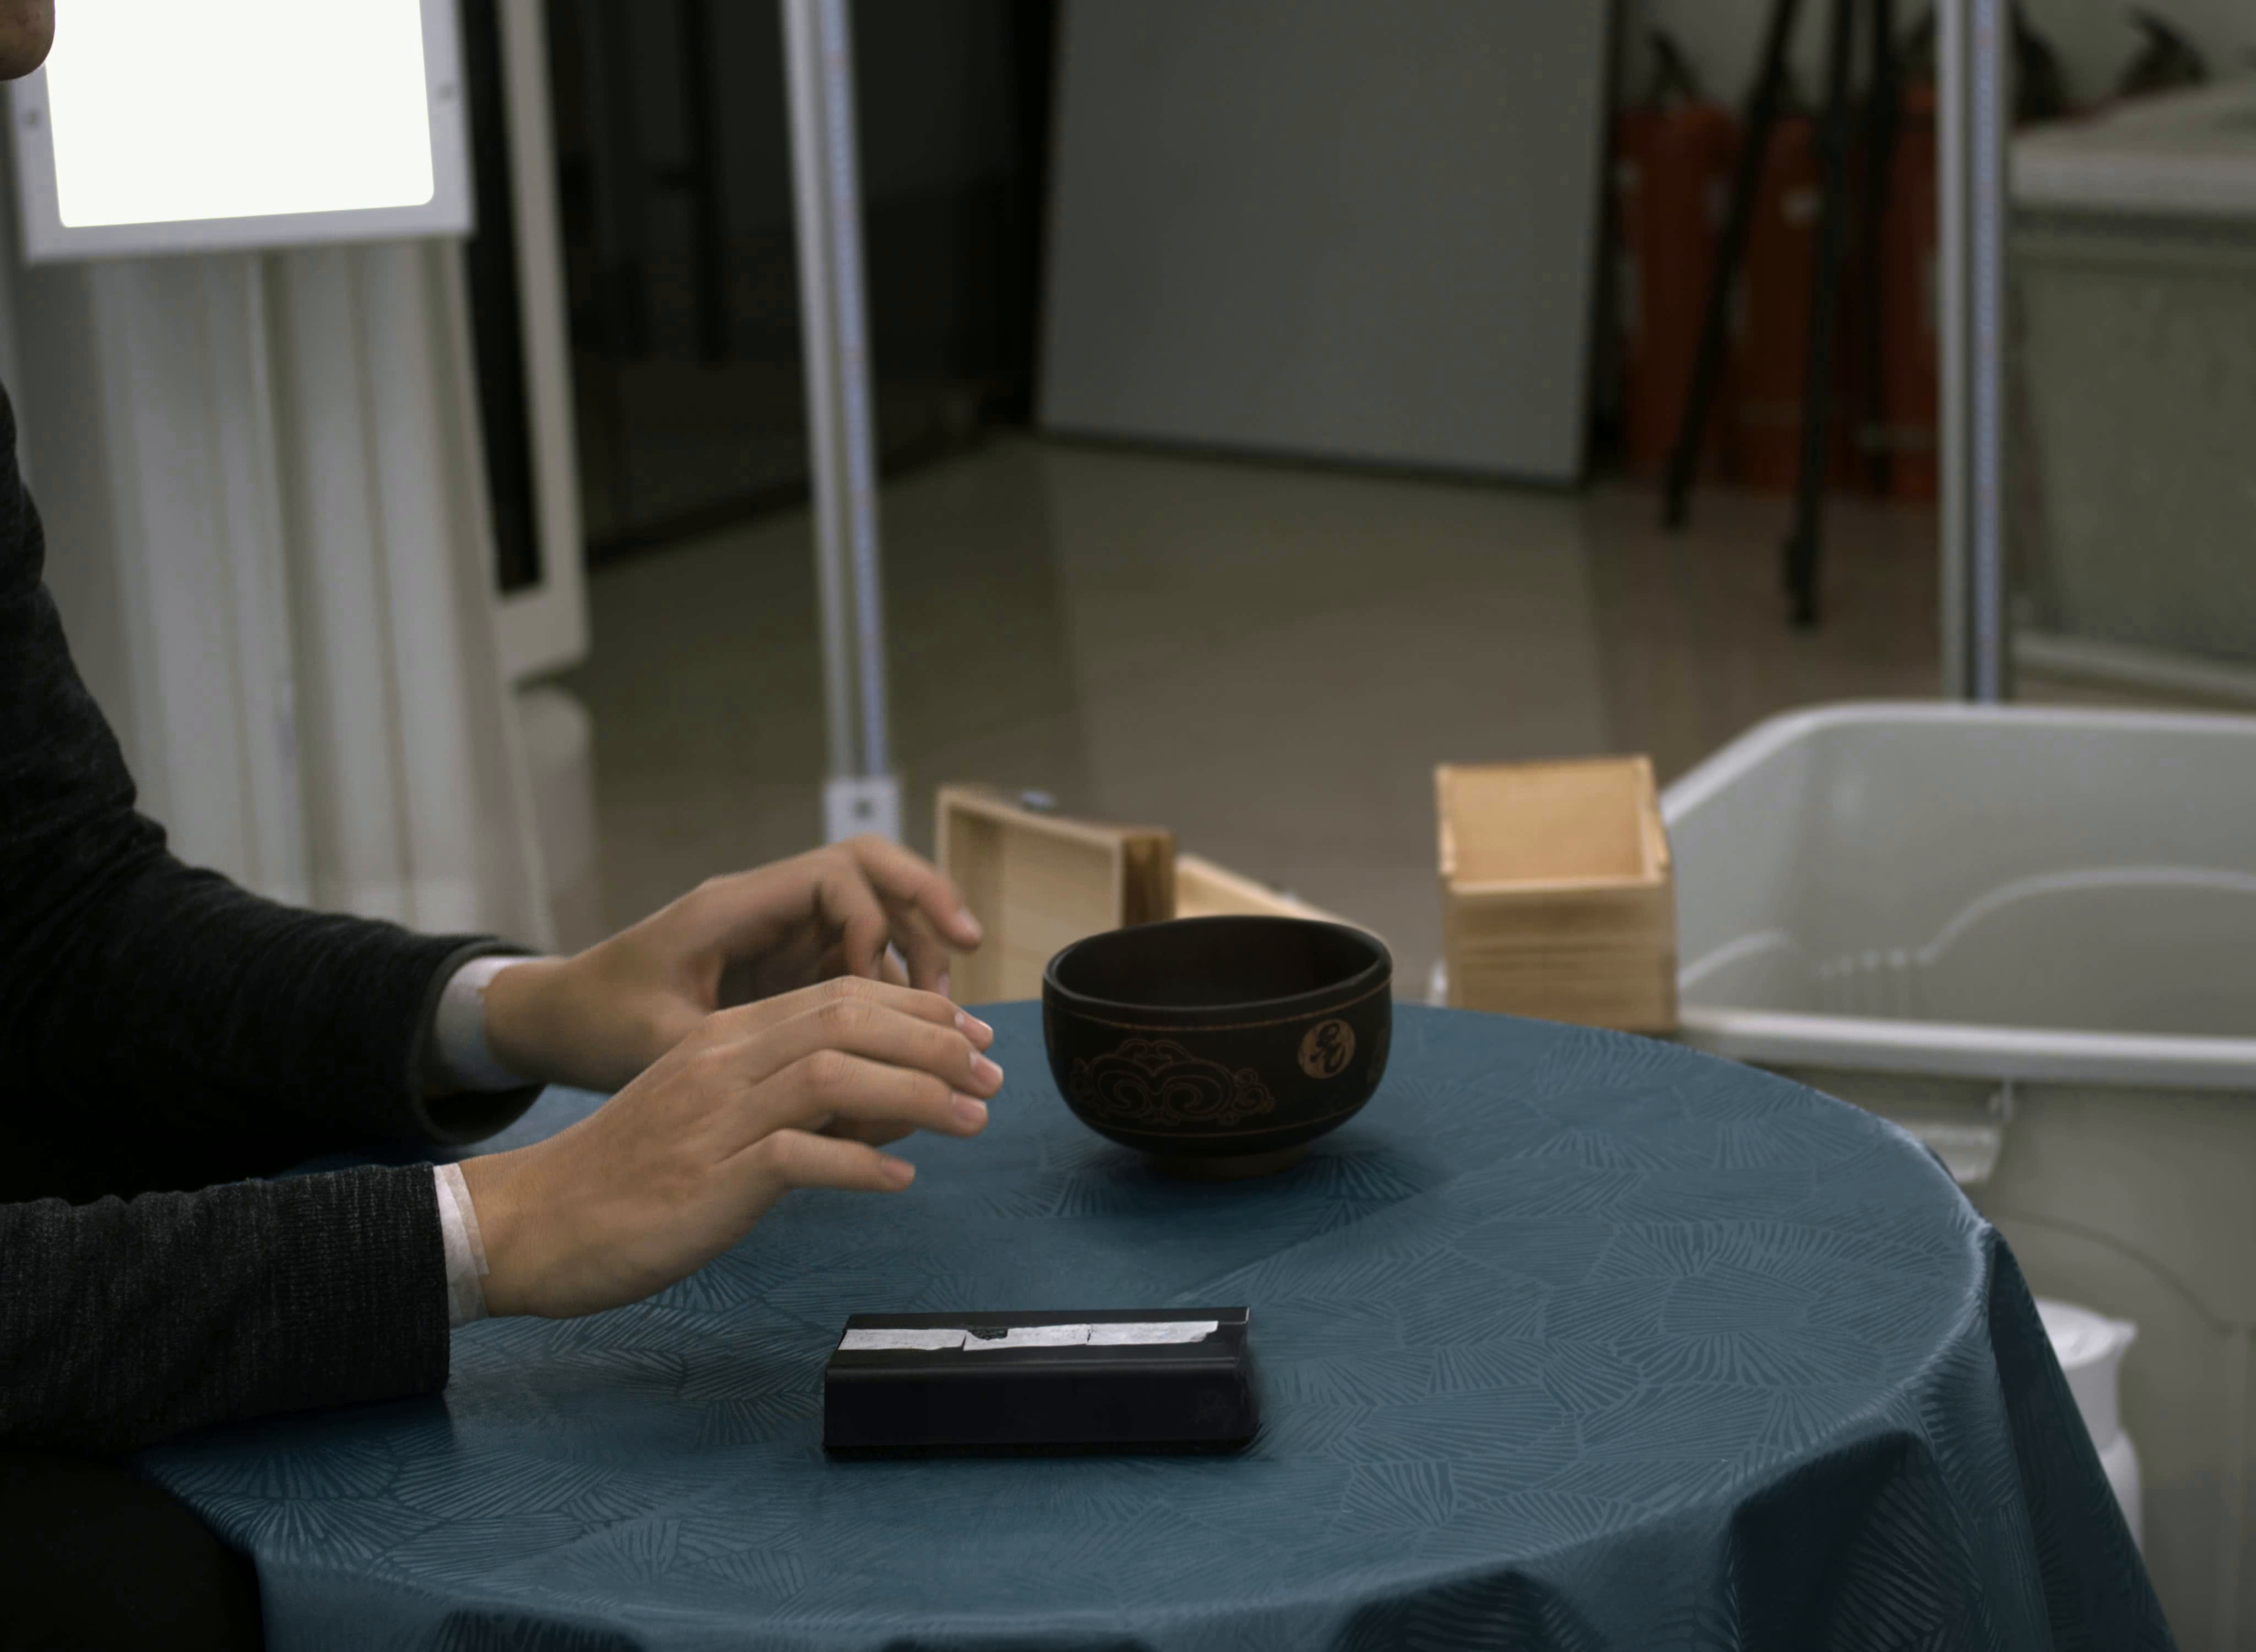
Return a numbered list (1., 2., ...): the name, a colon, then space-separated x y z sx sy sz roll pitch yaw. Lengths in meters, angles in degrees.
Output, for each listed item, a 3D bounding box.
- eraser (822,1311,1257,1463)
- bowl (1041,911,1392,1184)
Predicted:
1. eraser: -0.023 0.161 1.553 0.124 0.031 0.053 -3 11 7
2. bowl: 0.030 0.077 1.791 0.116 0.070 0.118 -4 16 0
